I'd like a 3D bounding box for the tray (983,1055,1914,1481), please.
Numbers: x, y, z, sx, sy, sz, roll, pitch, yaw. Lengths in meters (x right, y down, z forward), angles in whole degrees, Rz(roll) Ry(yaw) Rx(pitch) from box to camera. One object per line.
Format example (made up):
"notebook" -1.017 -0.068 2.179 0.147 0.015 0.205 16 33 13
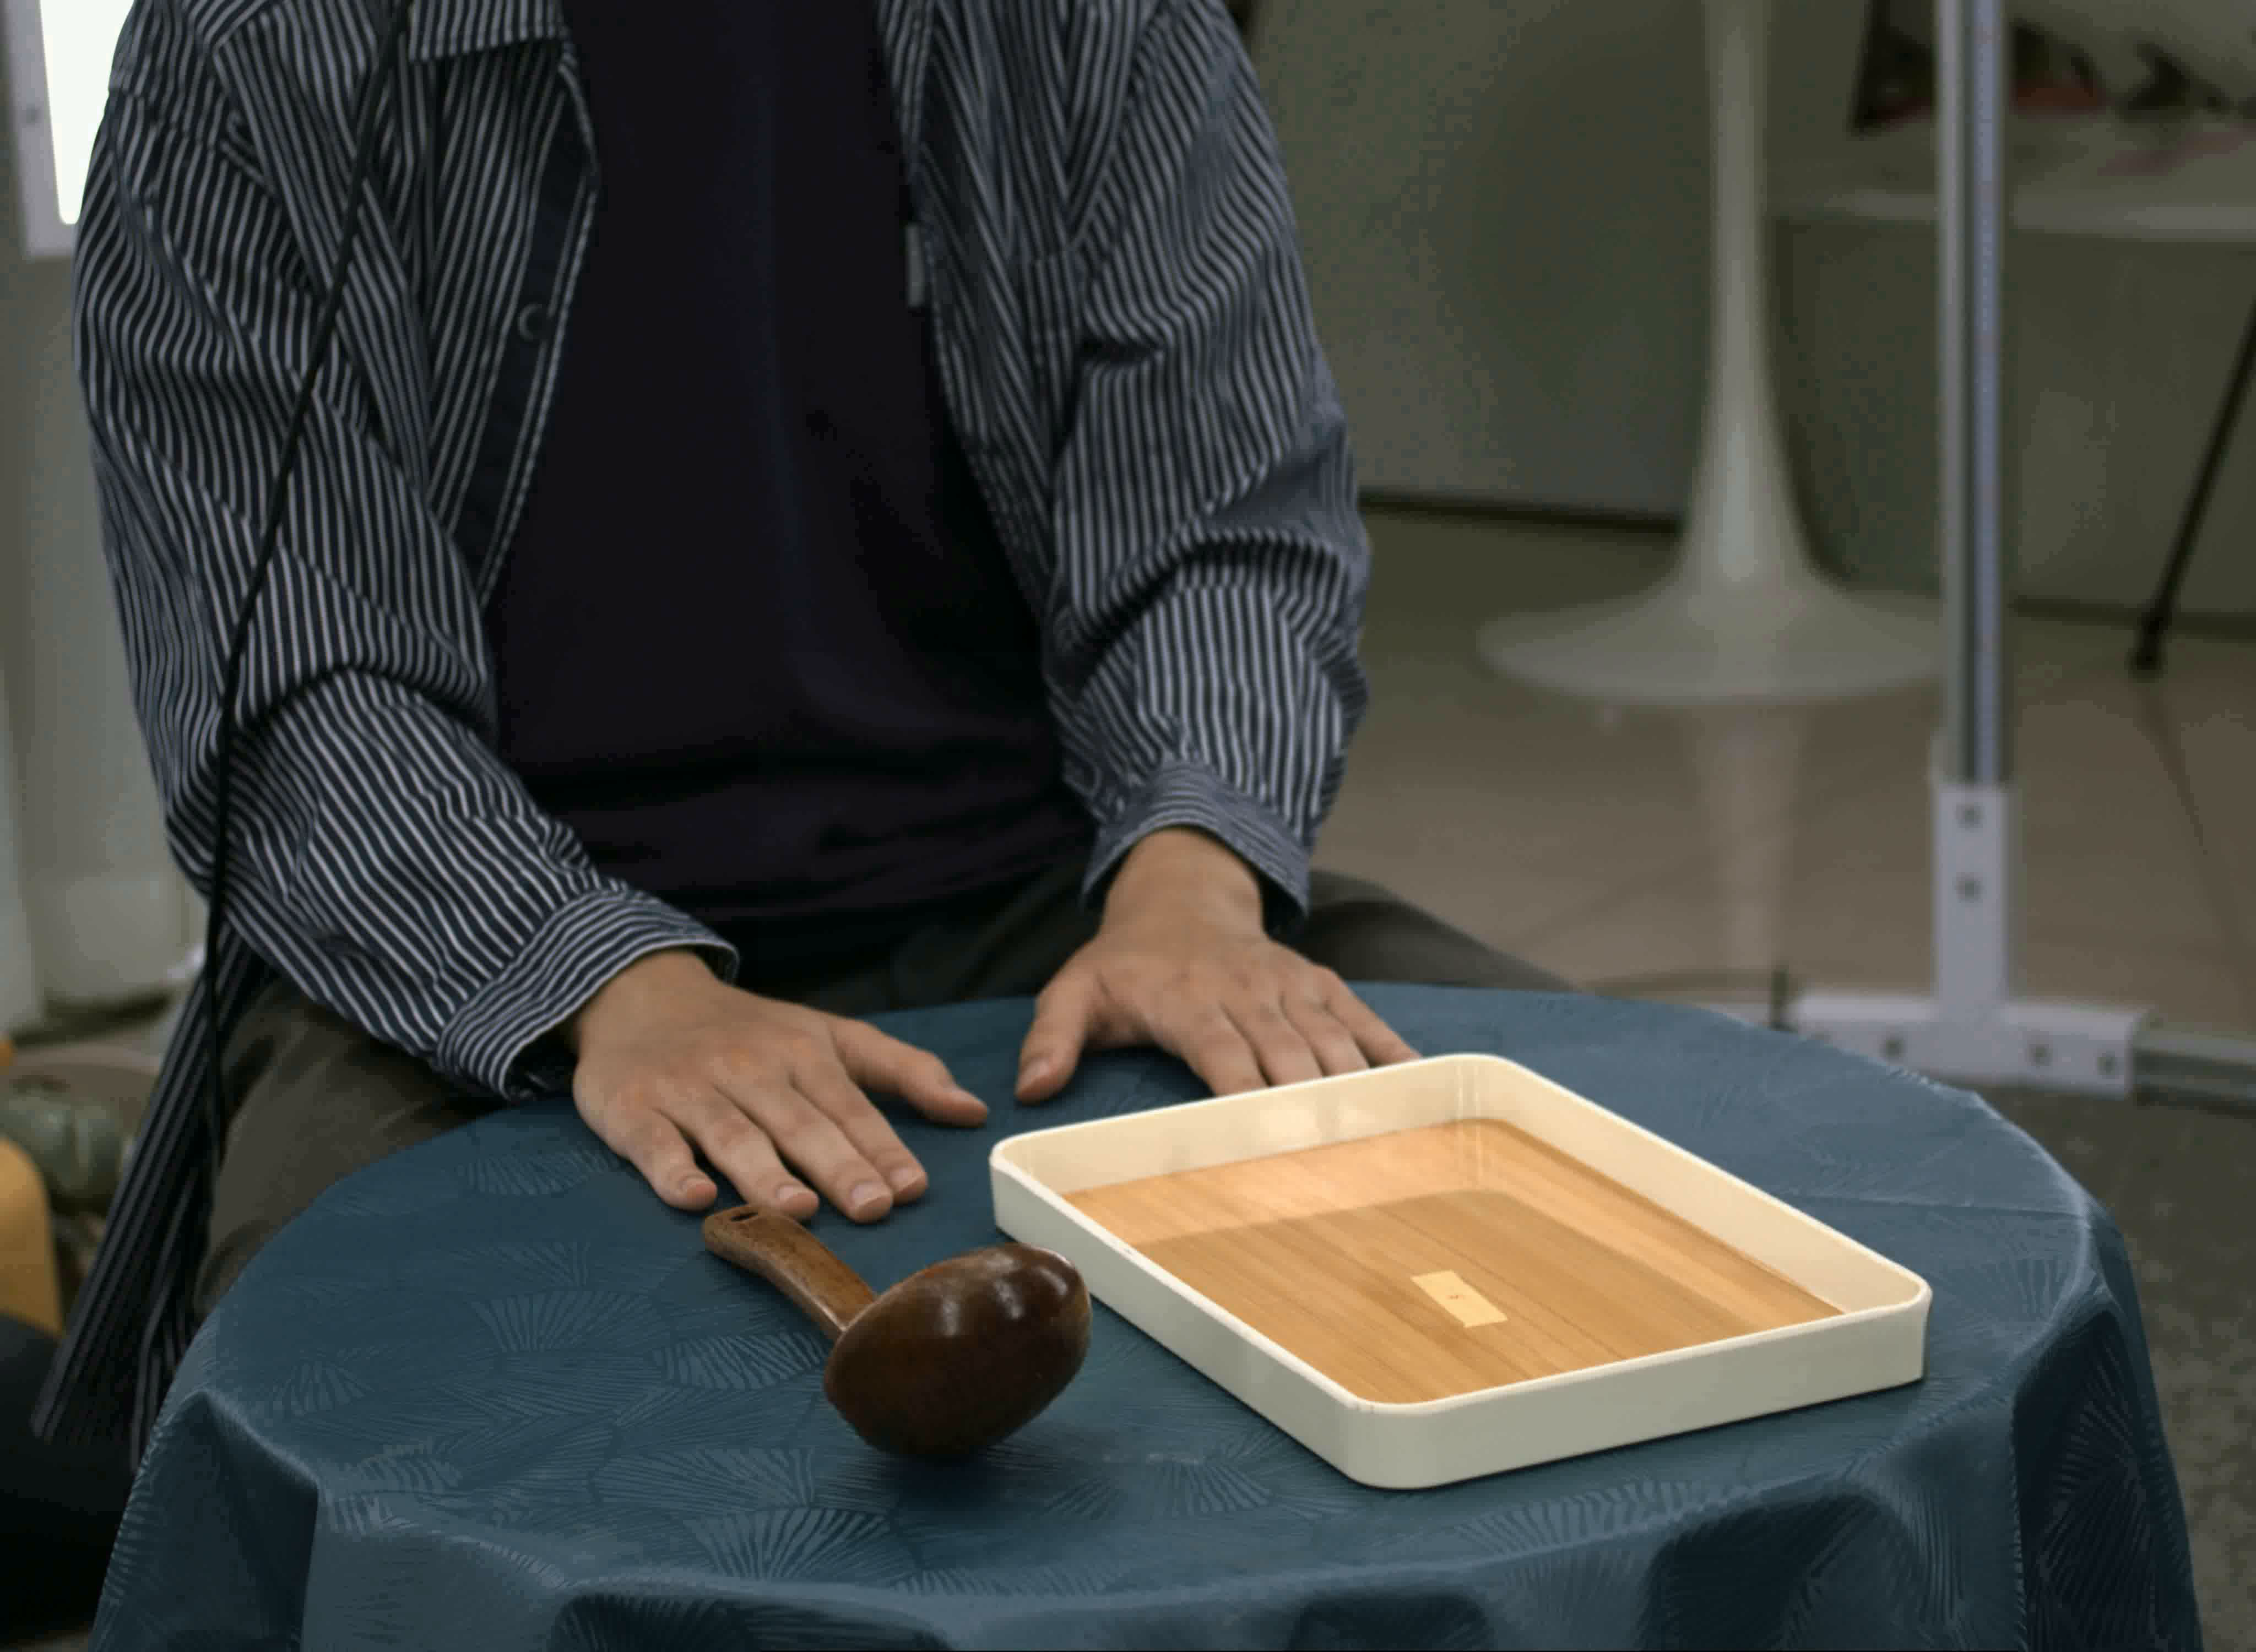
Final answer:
"tray" 0.091 0.130 1.653 0.187 0.028 0.303 -9 14 -20

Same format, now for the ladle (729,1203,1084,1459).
"ladle" -0.084 0.126 1.610 0.080 0.077 0.276 -12 15 -16
